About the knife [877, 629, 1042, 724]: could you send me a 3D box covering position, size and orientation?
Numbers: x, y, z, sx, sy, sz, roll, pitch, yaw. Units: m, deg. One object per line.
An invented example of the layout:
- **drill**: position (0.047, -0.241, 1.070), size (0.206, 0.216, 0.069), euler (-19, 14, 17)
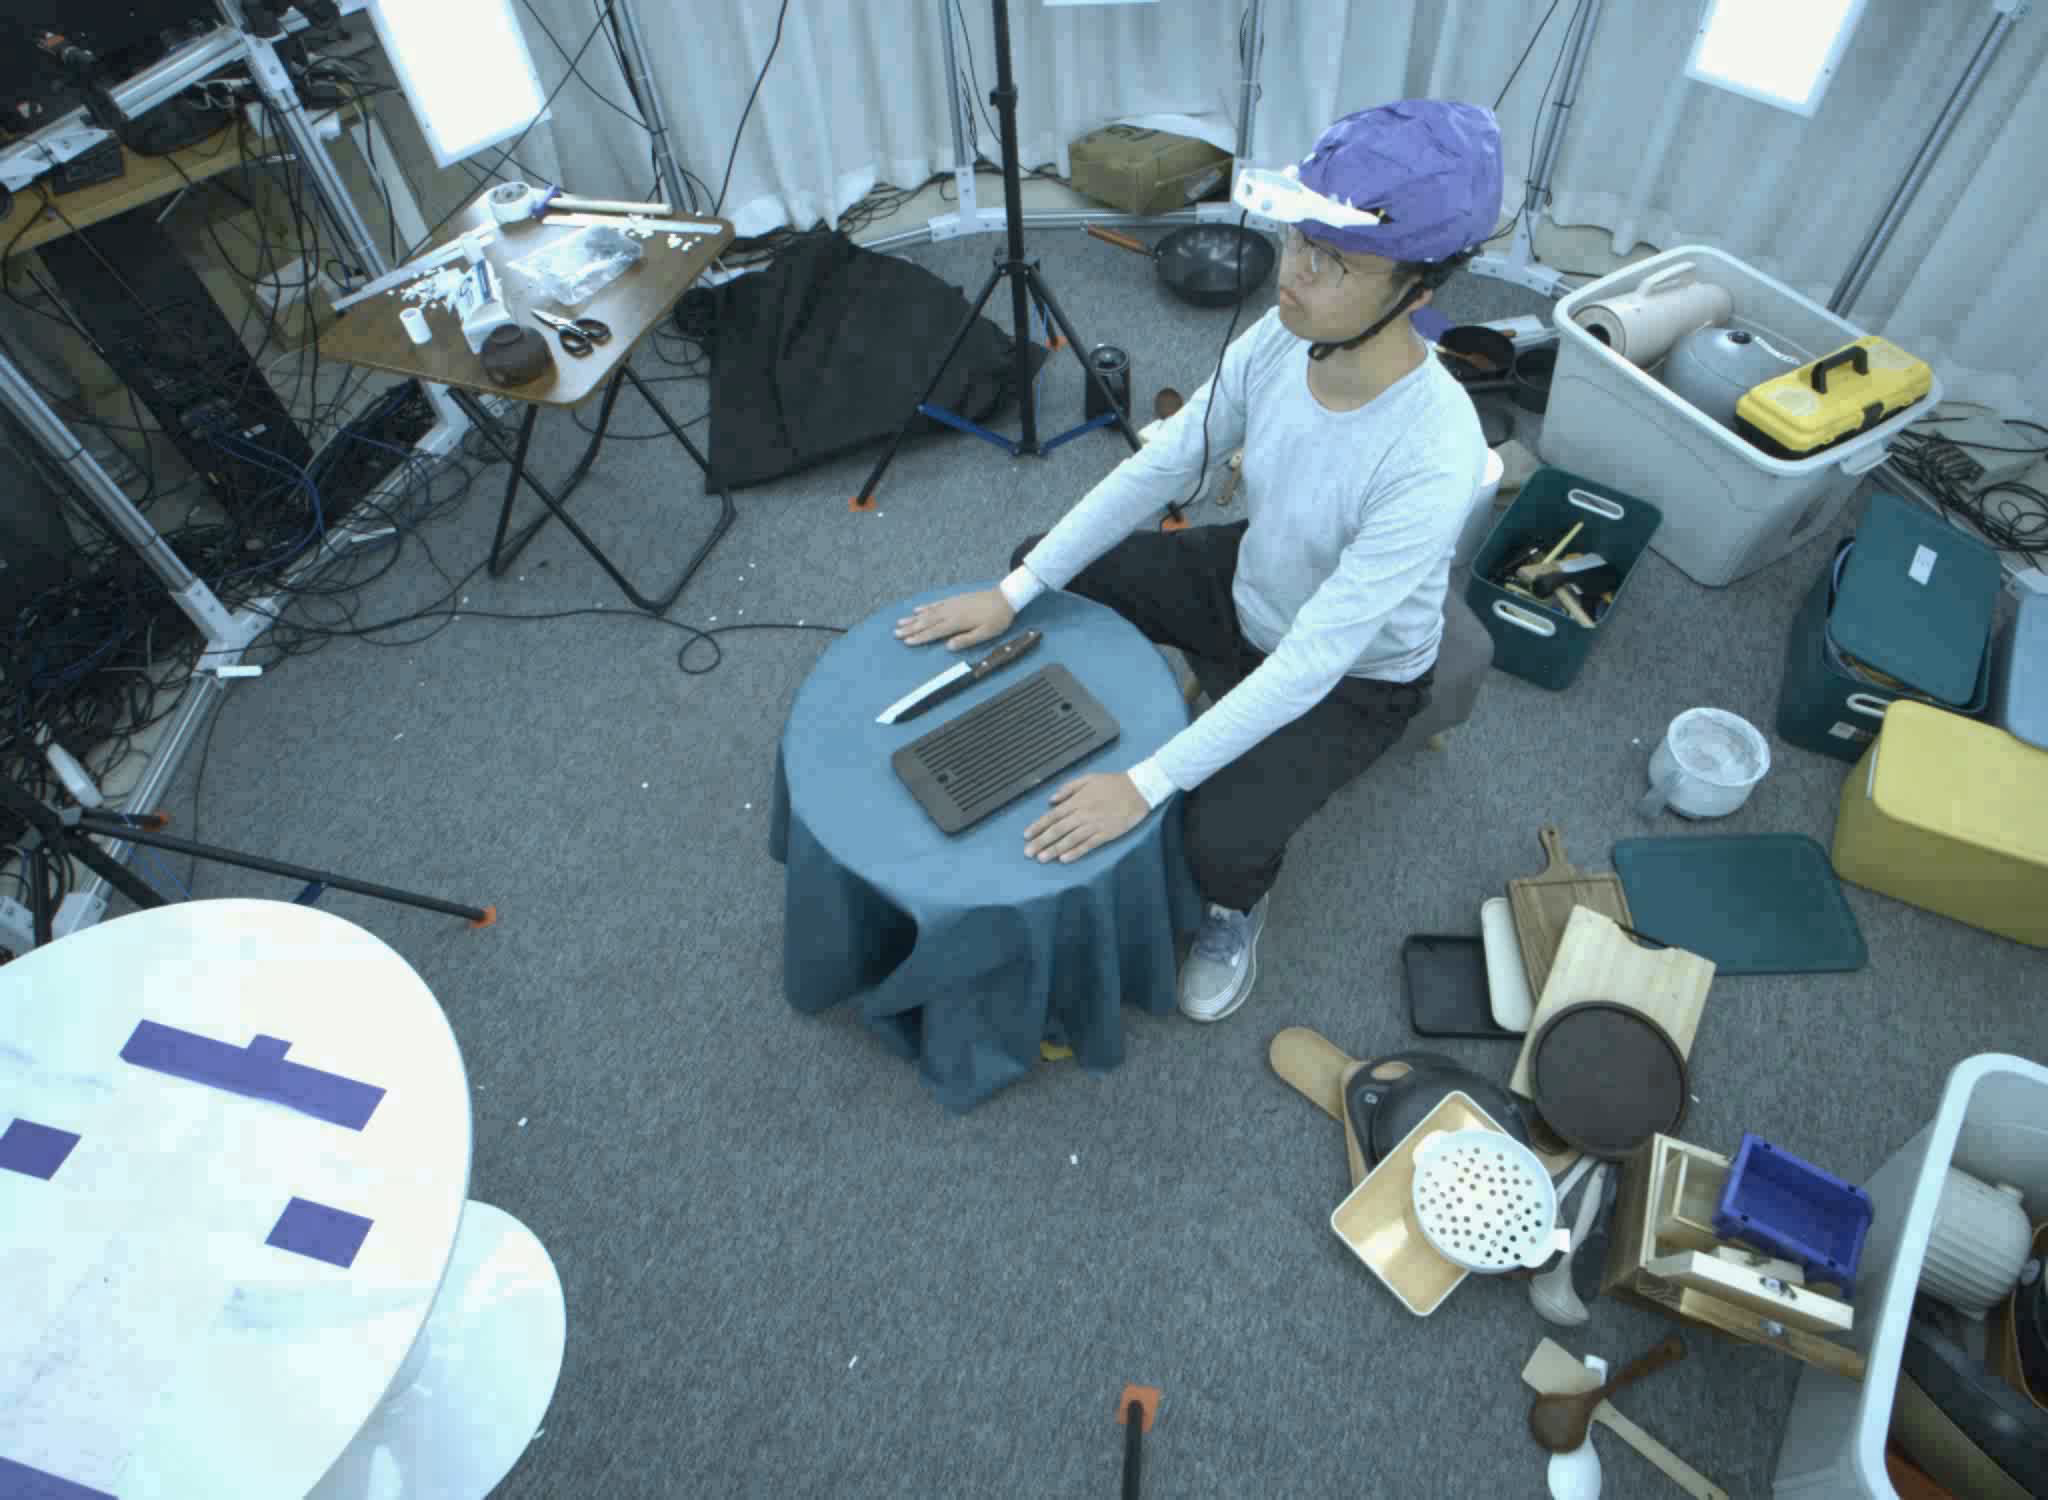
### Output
- **knife**: position (-0.098, -0.111, 1.868), size (0.291, 0.020, 0.049), euler (-30, 54, -16)

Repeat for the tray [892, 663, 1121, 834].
- **tray**: position (-0.025, -0.005, 1.789), size (0.308, 0.019, 0.167), euler (-30, 59, -19)
